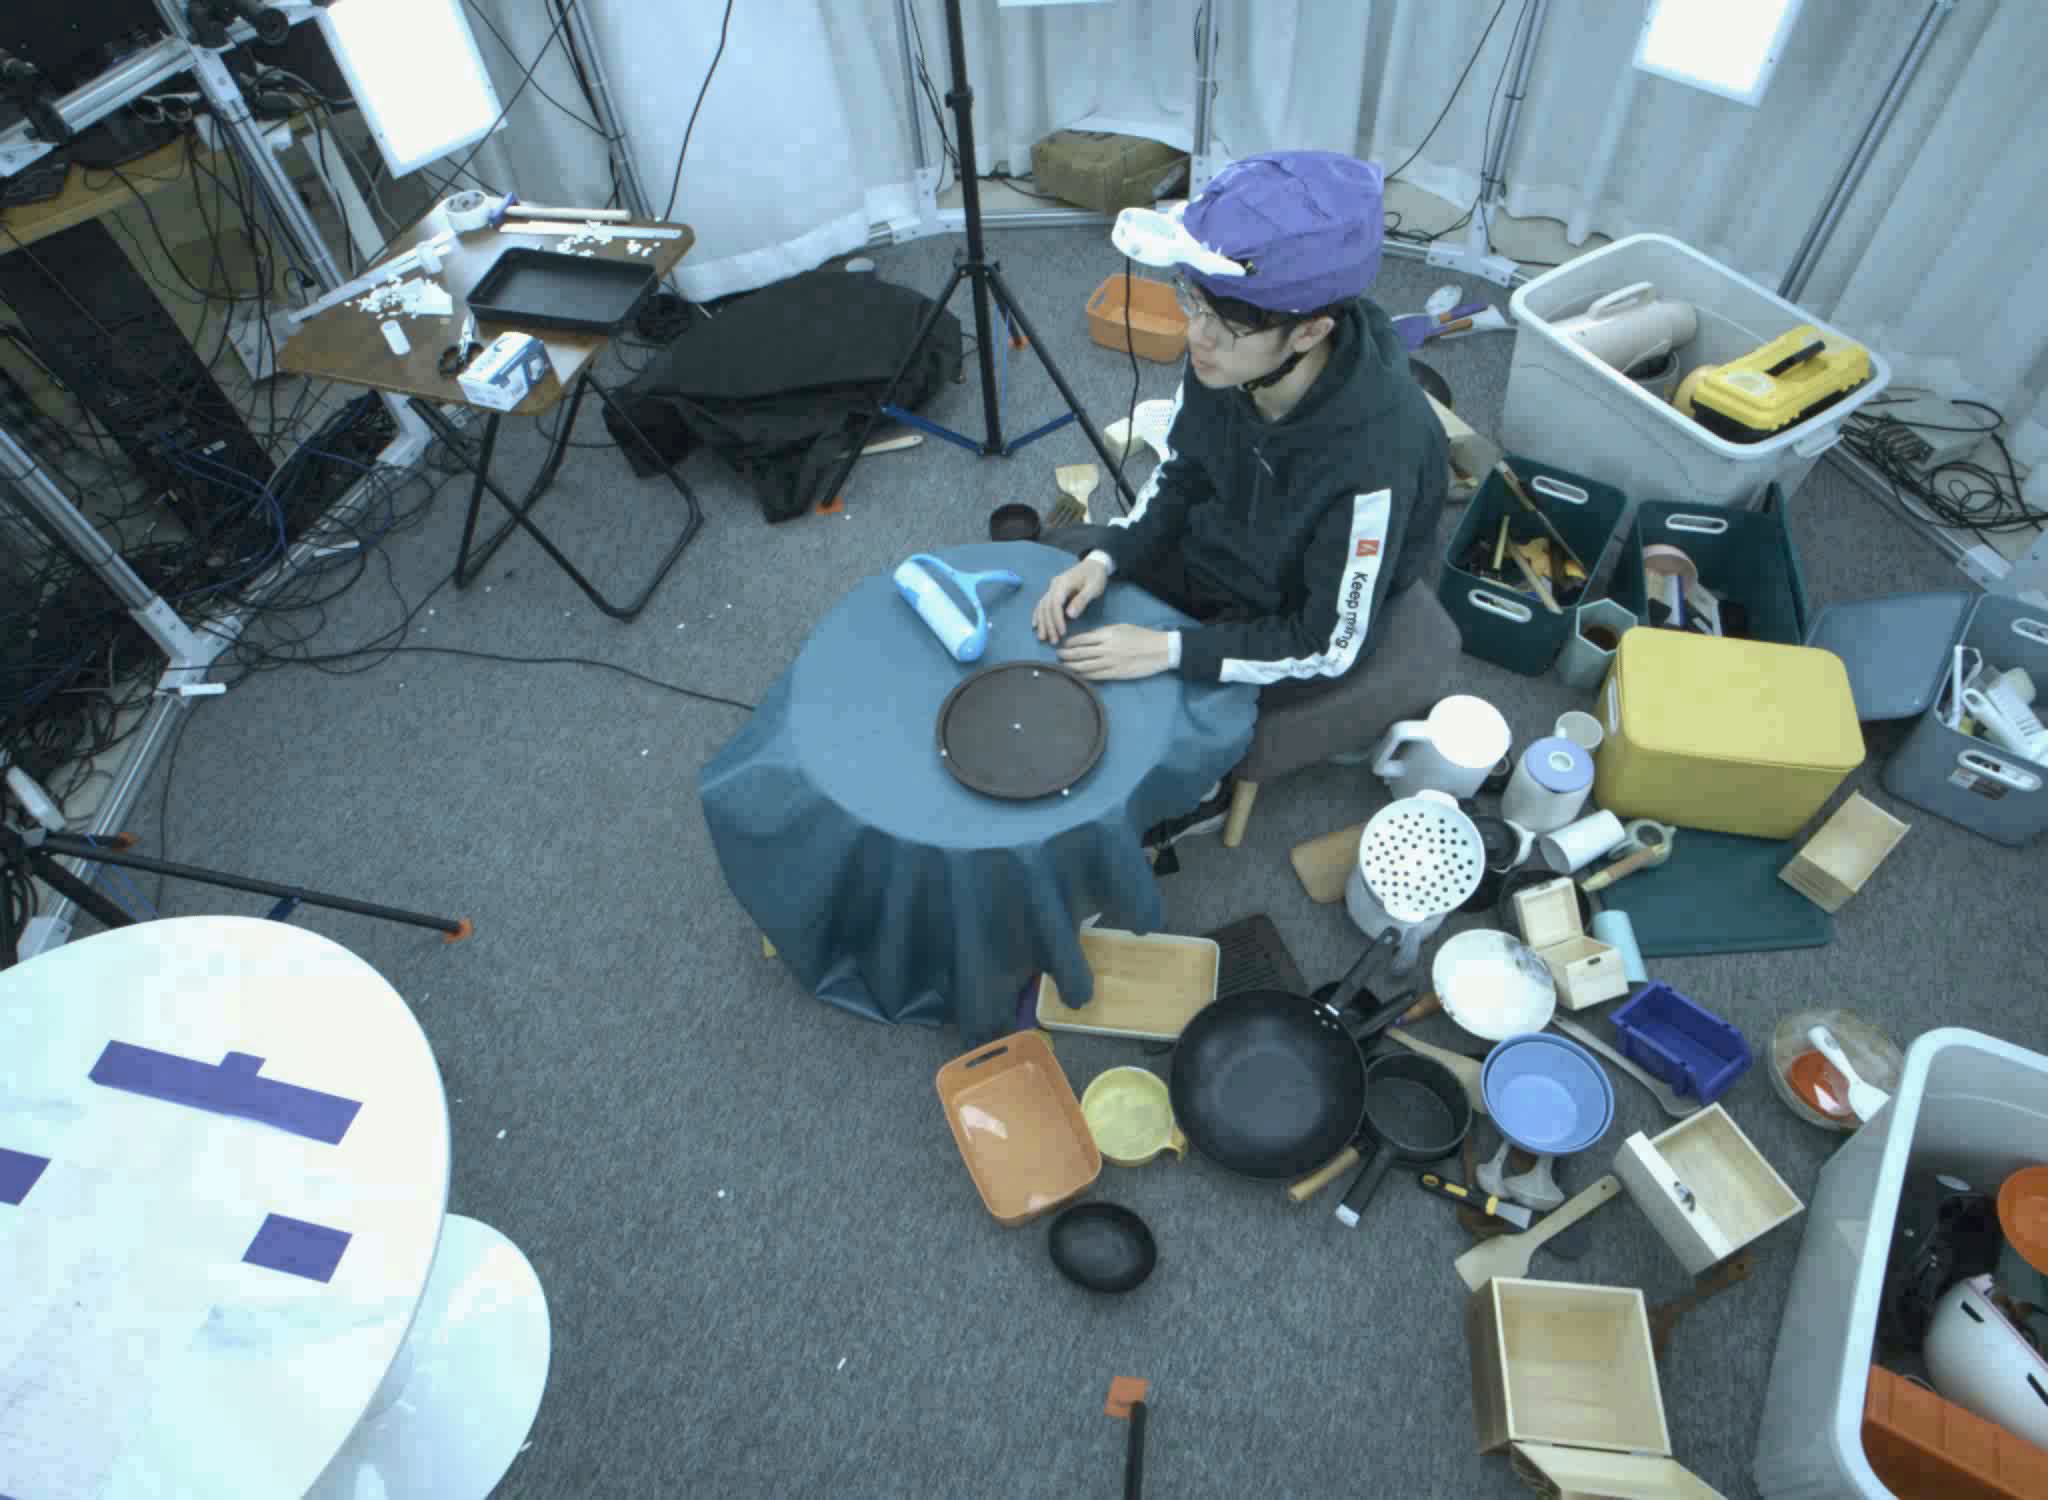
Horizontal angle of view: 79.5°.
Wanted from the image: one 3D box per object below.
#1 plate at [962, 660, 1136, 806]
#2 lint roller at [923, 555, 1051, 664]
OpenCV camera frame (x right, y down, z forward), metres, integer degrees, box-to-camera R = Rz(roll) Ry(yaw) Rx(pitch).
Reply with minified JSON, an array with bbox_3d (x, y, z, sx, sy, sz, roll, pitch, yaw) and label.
[{"bbox_3d":[0.036,-0.024,1.785,0.254,0.029,0.252,-1,56,2],"label":"plate"},{"bbox_3d":[-0.039,-0.244,1.923,0.181,0.069,0.224,-31,58,-17],"label":"lint roller"}]
